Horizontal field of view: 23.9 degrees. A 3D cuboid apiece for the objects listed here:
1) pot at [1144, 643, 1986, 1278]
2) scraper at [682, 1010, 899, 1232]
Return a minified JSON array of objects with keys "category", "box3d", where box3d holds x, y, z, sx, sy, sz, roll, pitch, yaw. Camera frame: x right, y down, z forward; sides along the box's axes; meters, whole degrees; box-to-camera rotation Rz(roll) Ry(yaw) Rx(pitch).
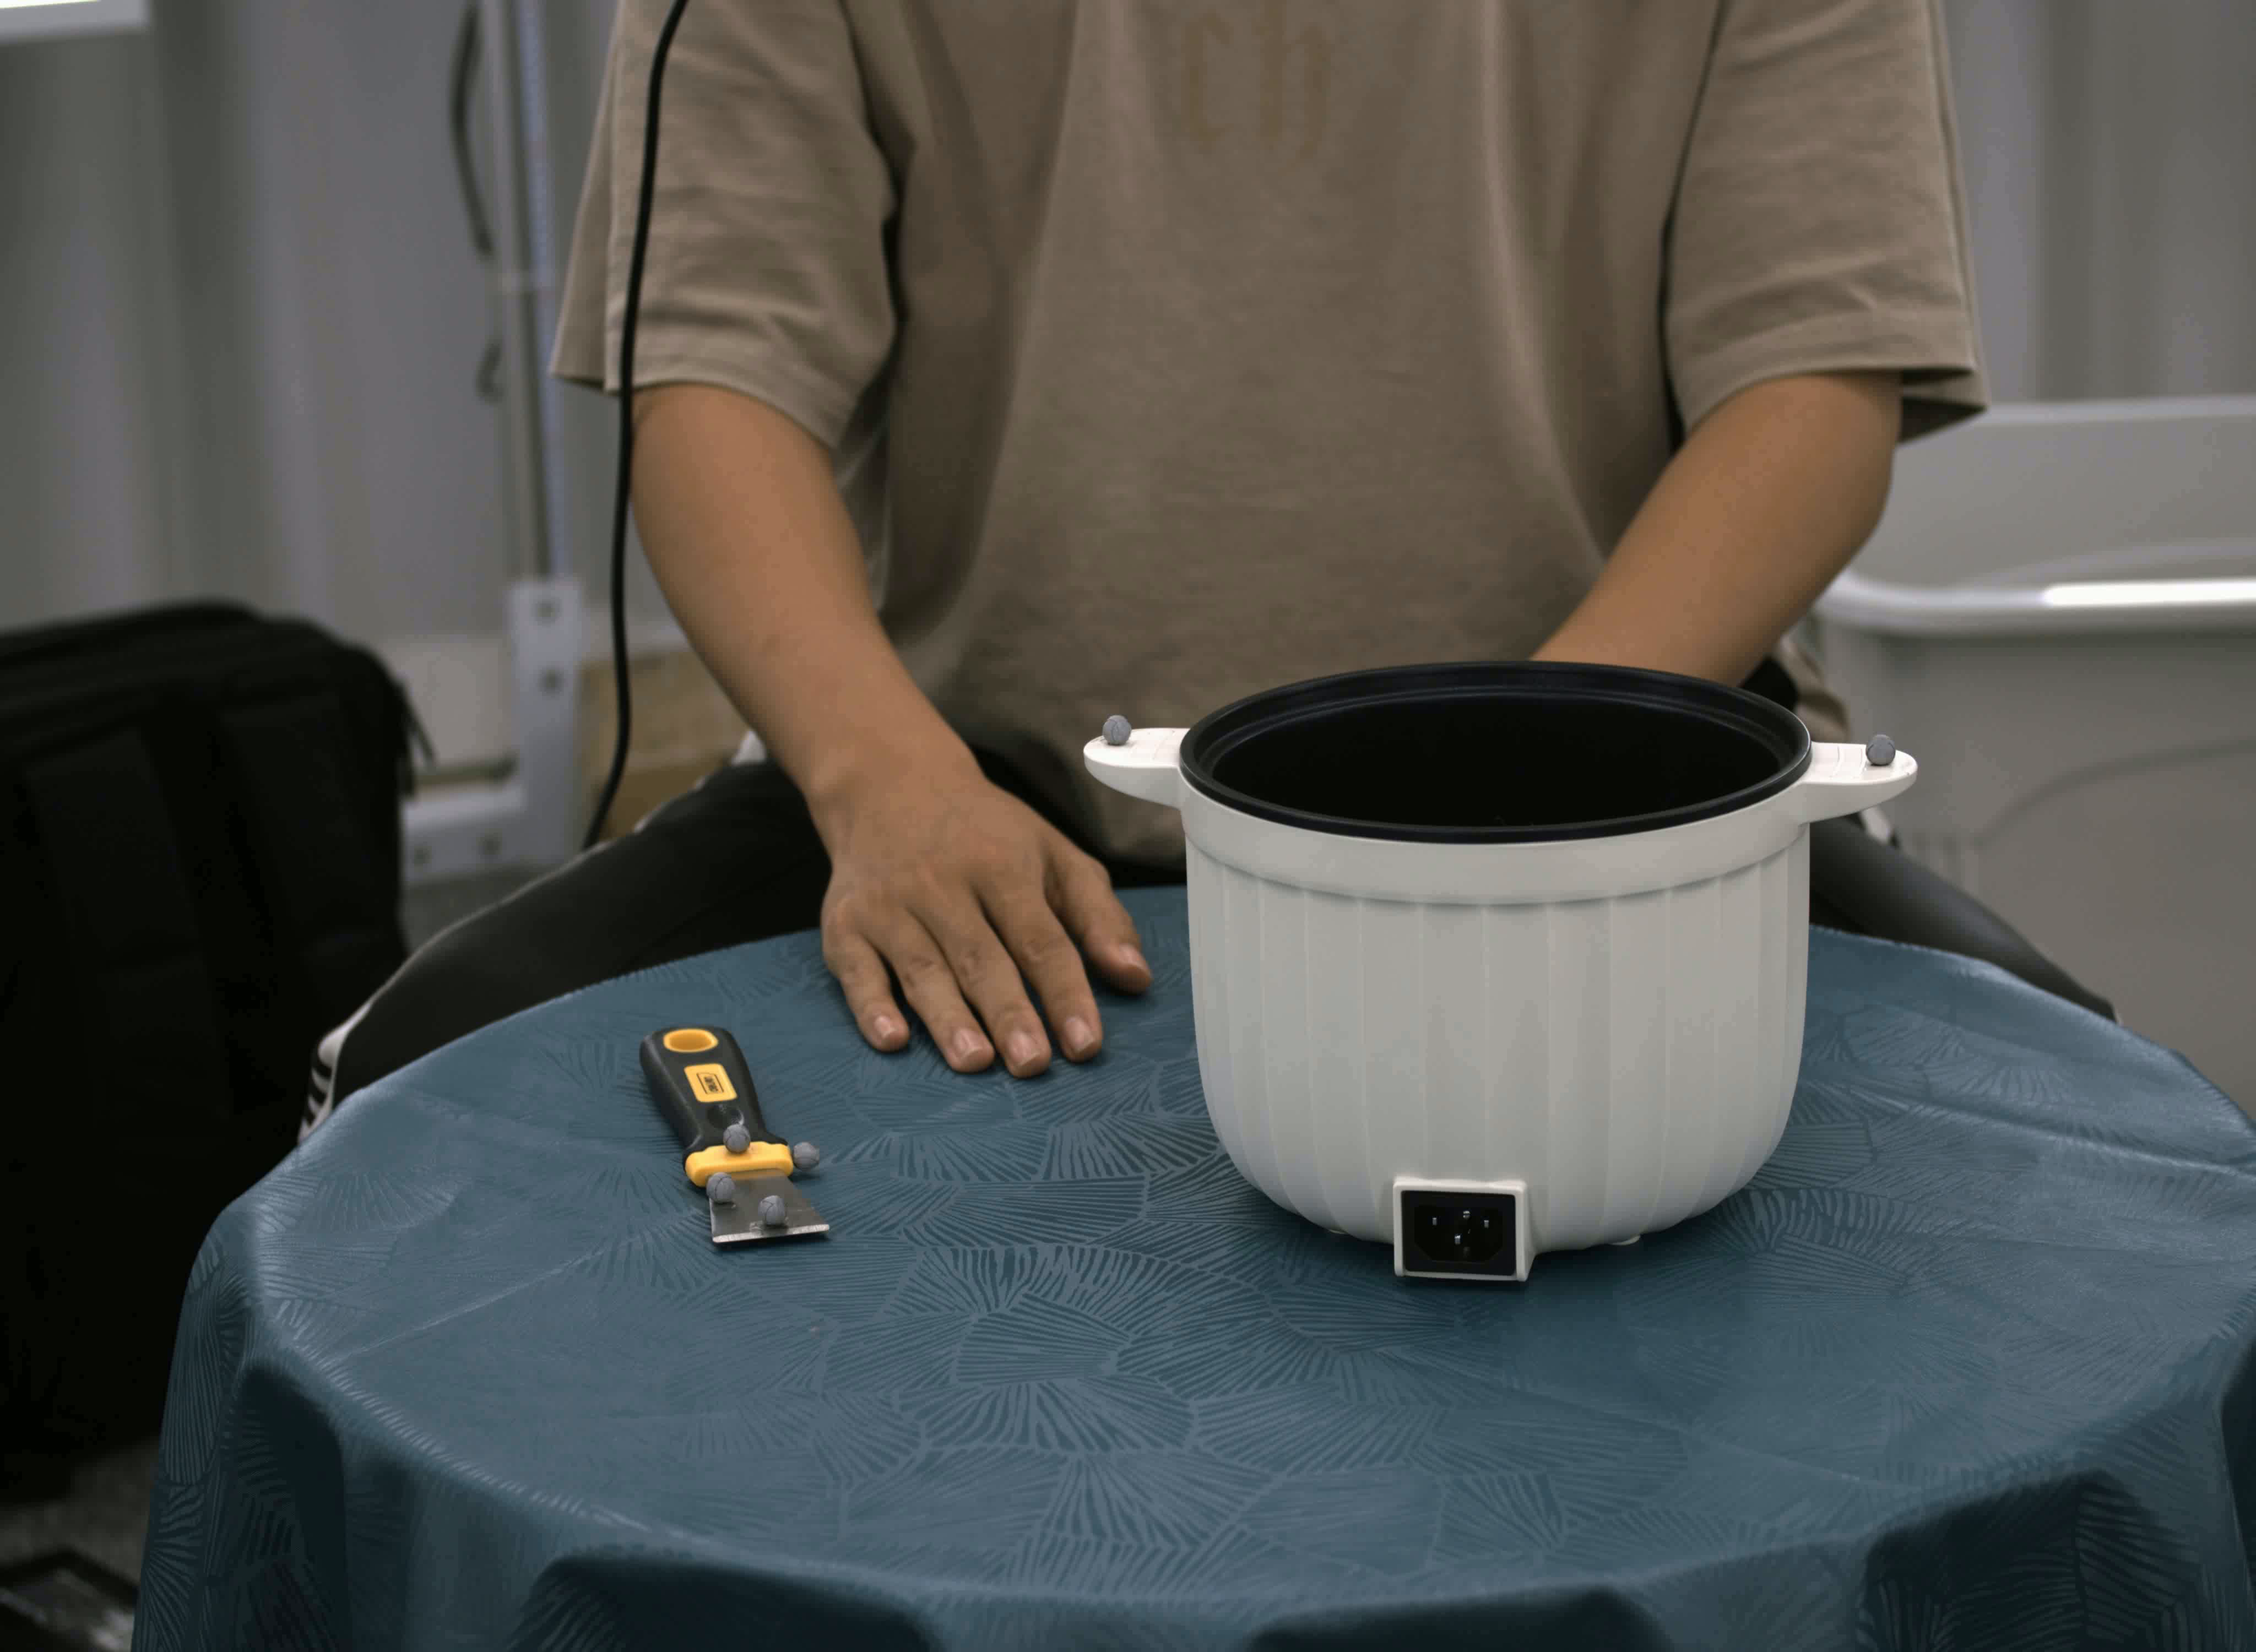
[{"category":"pot","box3d":[0.124,0.035,1.532,0.241,0.142,0.190,3,20,12]},{"category":"scraper","box3d":[-0.105,0.088,1.599,0.038,0.015,0.173,-12,20,-12]}]
